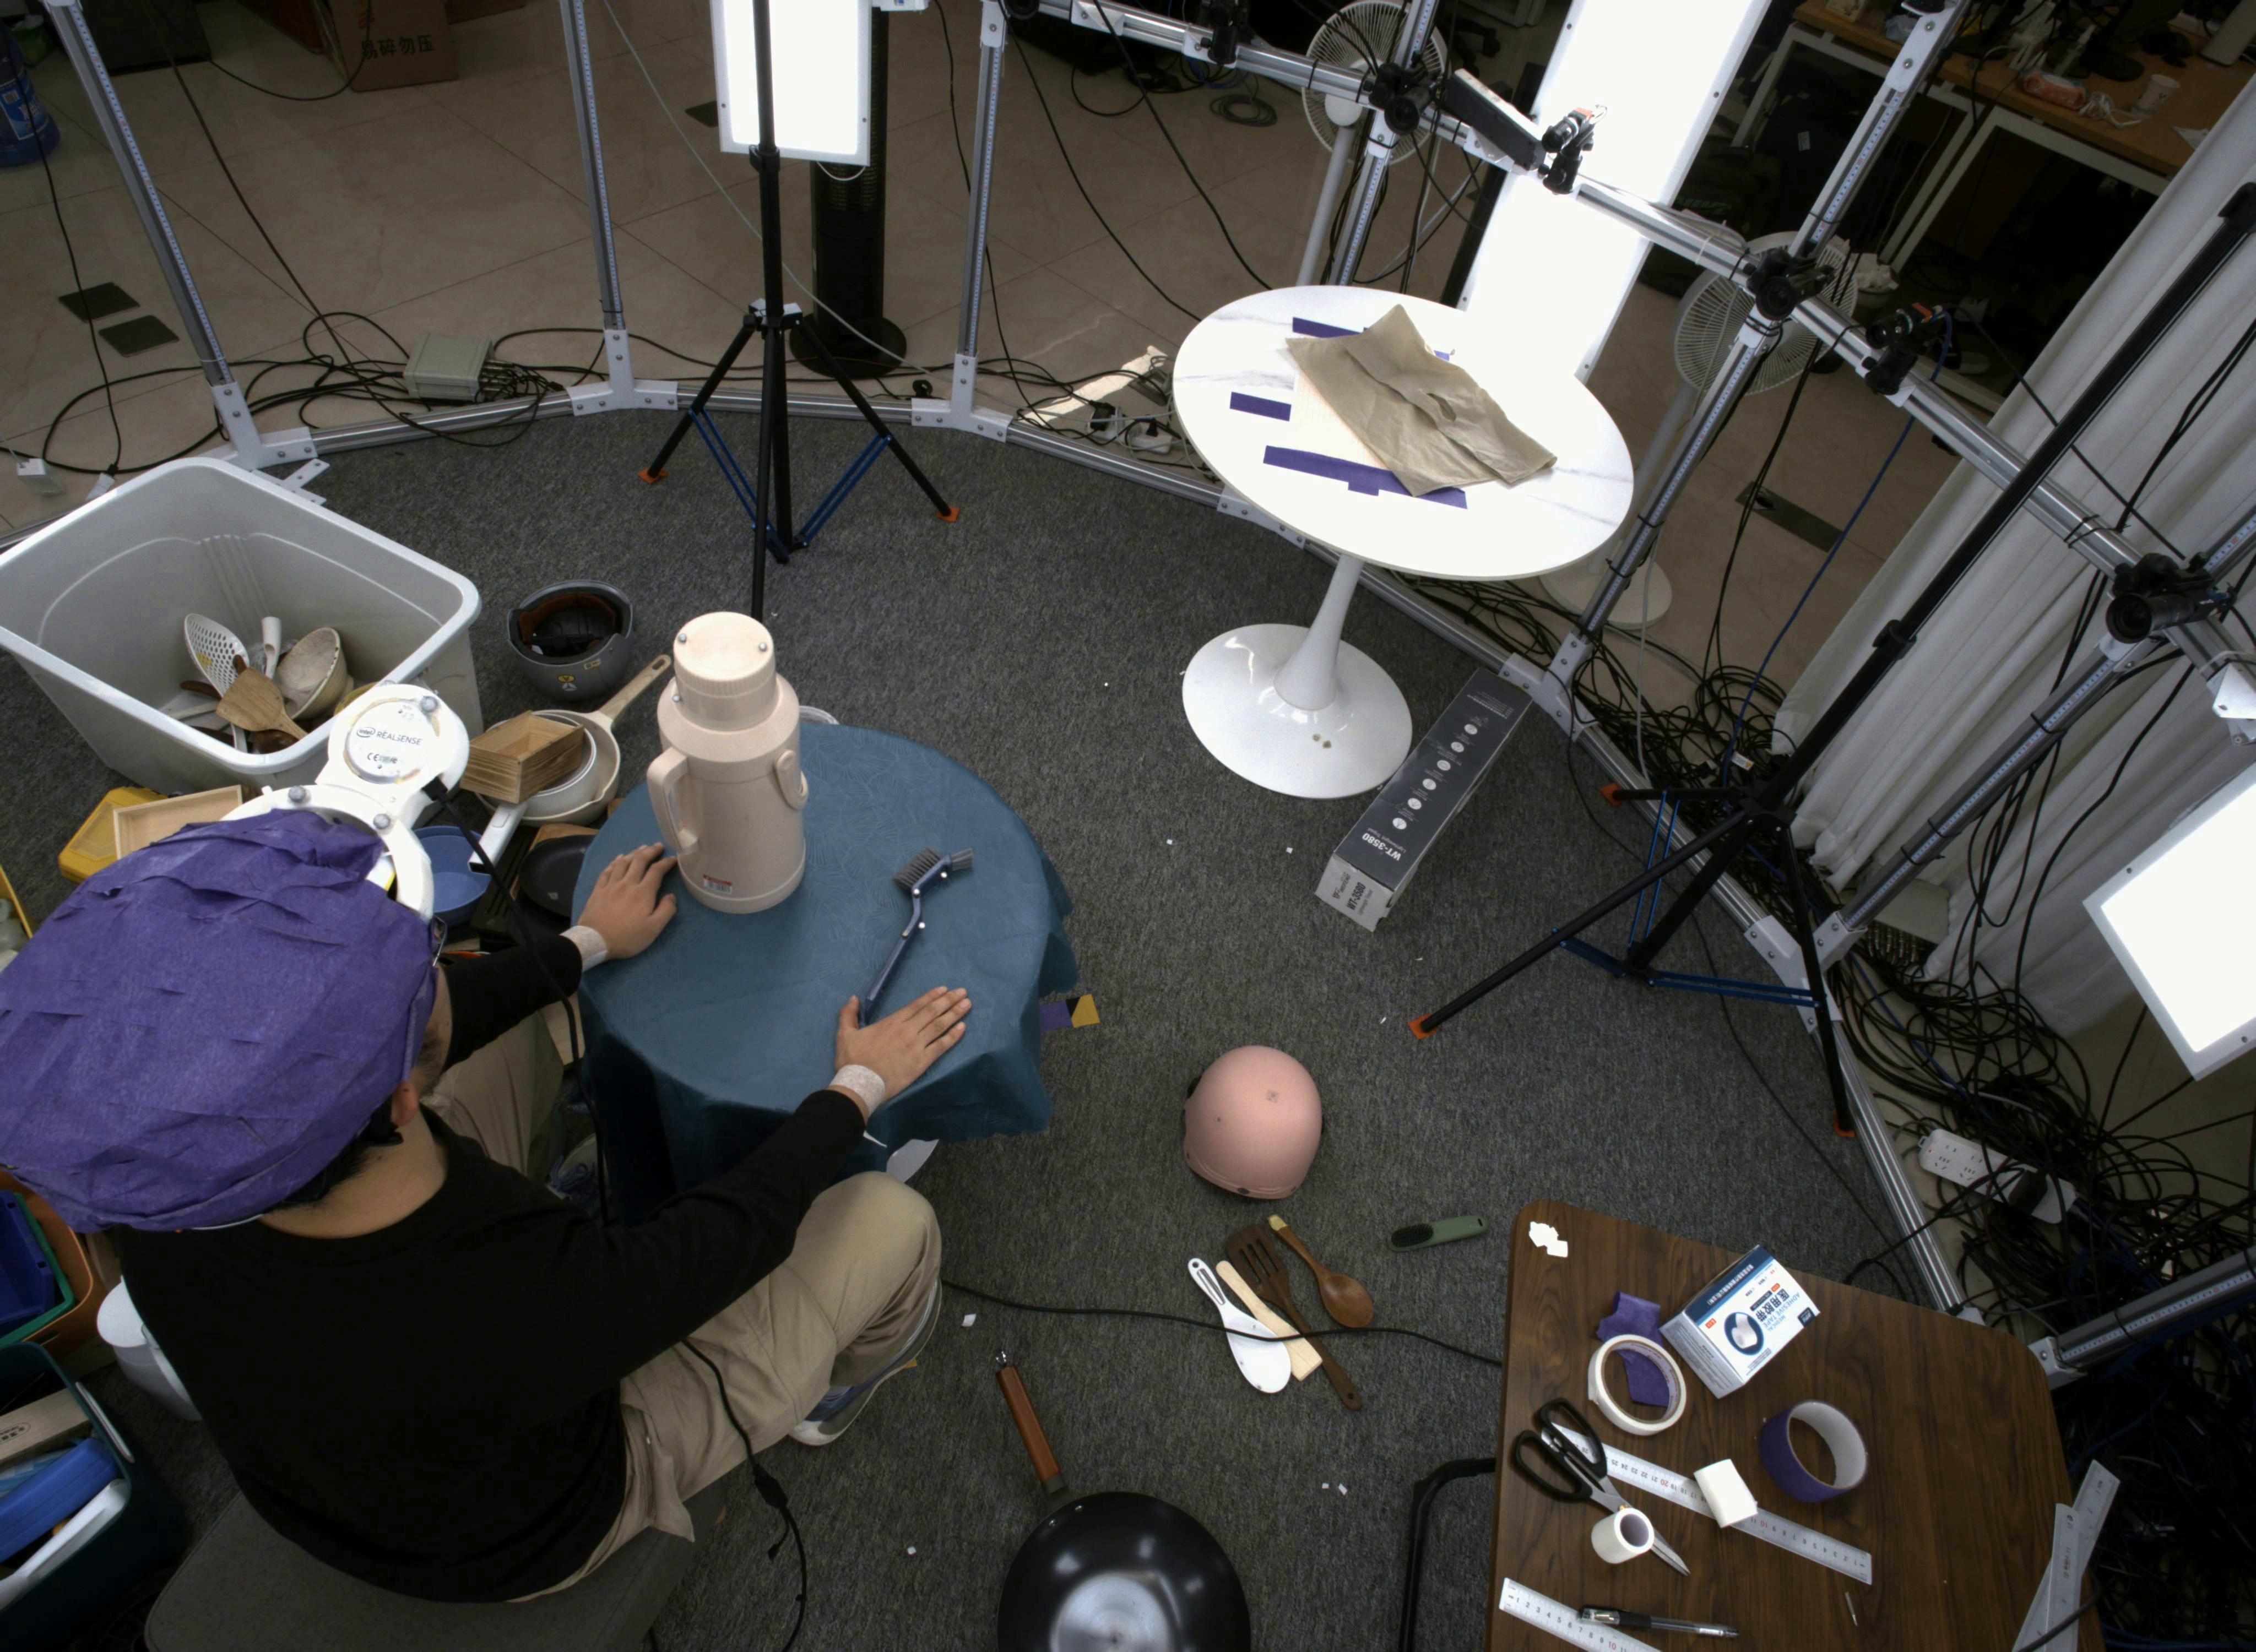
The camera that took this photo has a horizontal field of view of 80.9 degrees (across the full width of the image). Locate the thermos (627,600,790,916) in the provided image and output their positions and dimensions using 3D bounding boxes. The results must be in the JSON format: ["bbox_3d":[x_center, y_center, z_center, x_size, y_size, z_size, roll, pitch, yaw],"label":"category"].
[{"bbox_3d":[-0.491,-0.067,1.494,0.172,0.414,0.206,31,52,11],"label":"thermos"}]

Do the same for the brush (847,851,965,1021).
[{"bbox_3d":[-0.282,0.130,1.637,0.095,0.034,0.269,14,49,-2],"label":"brush"}]
